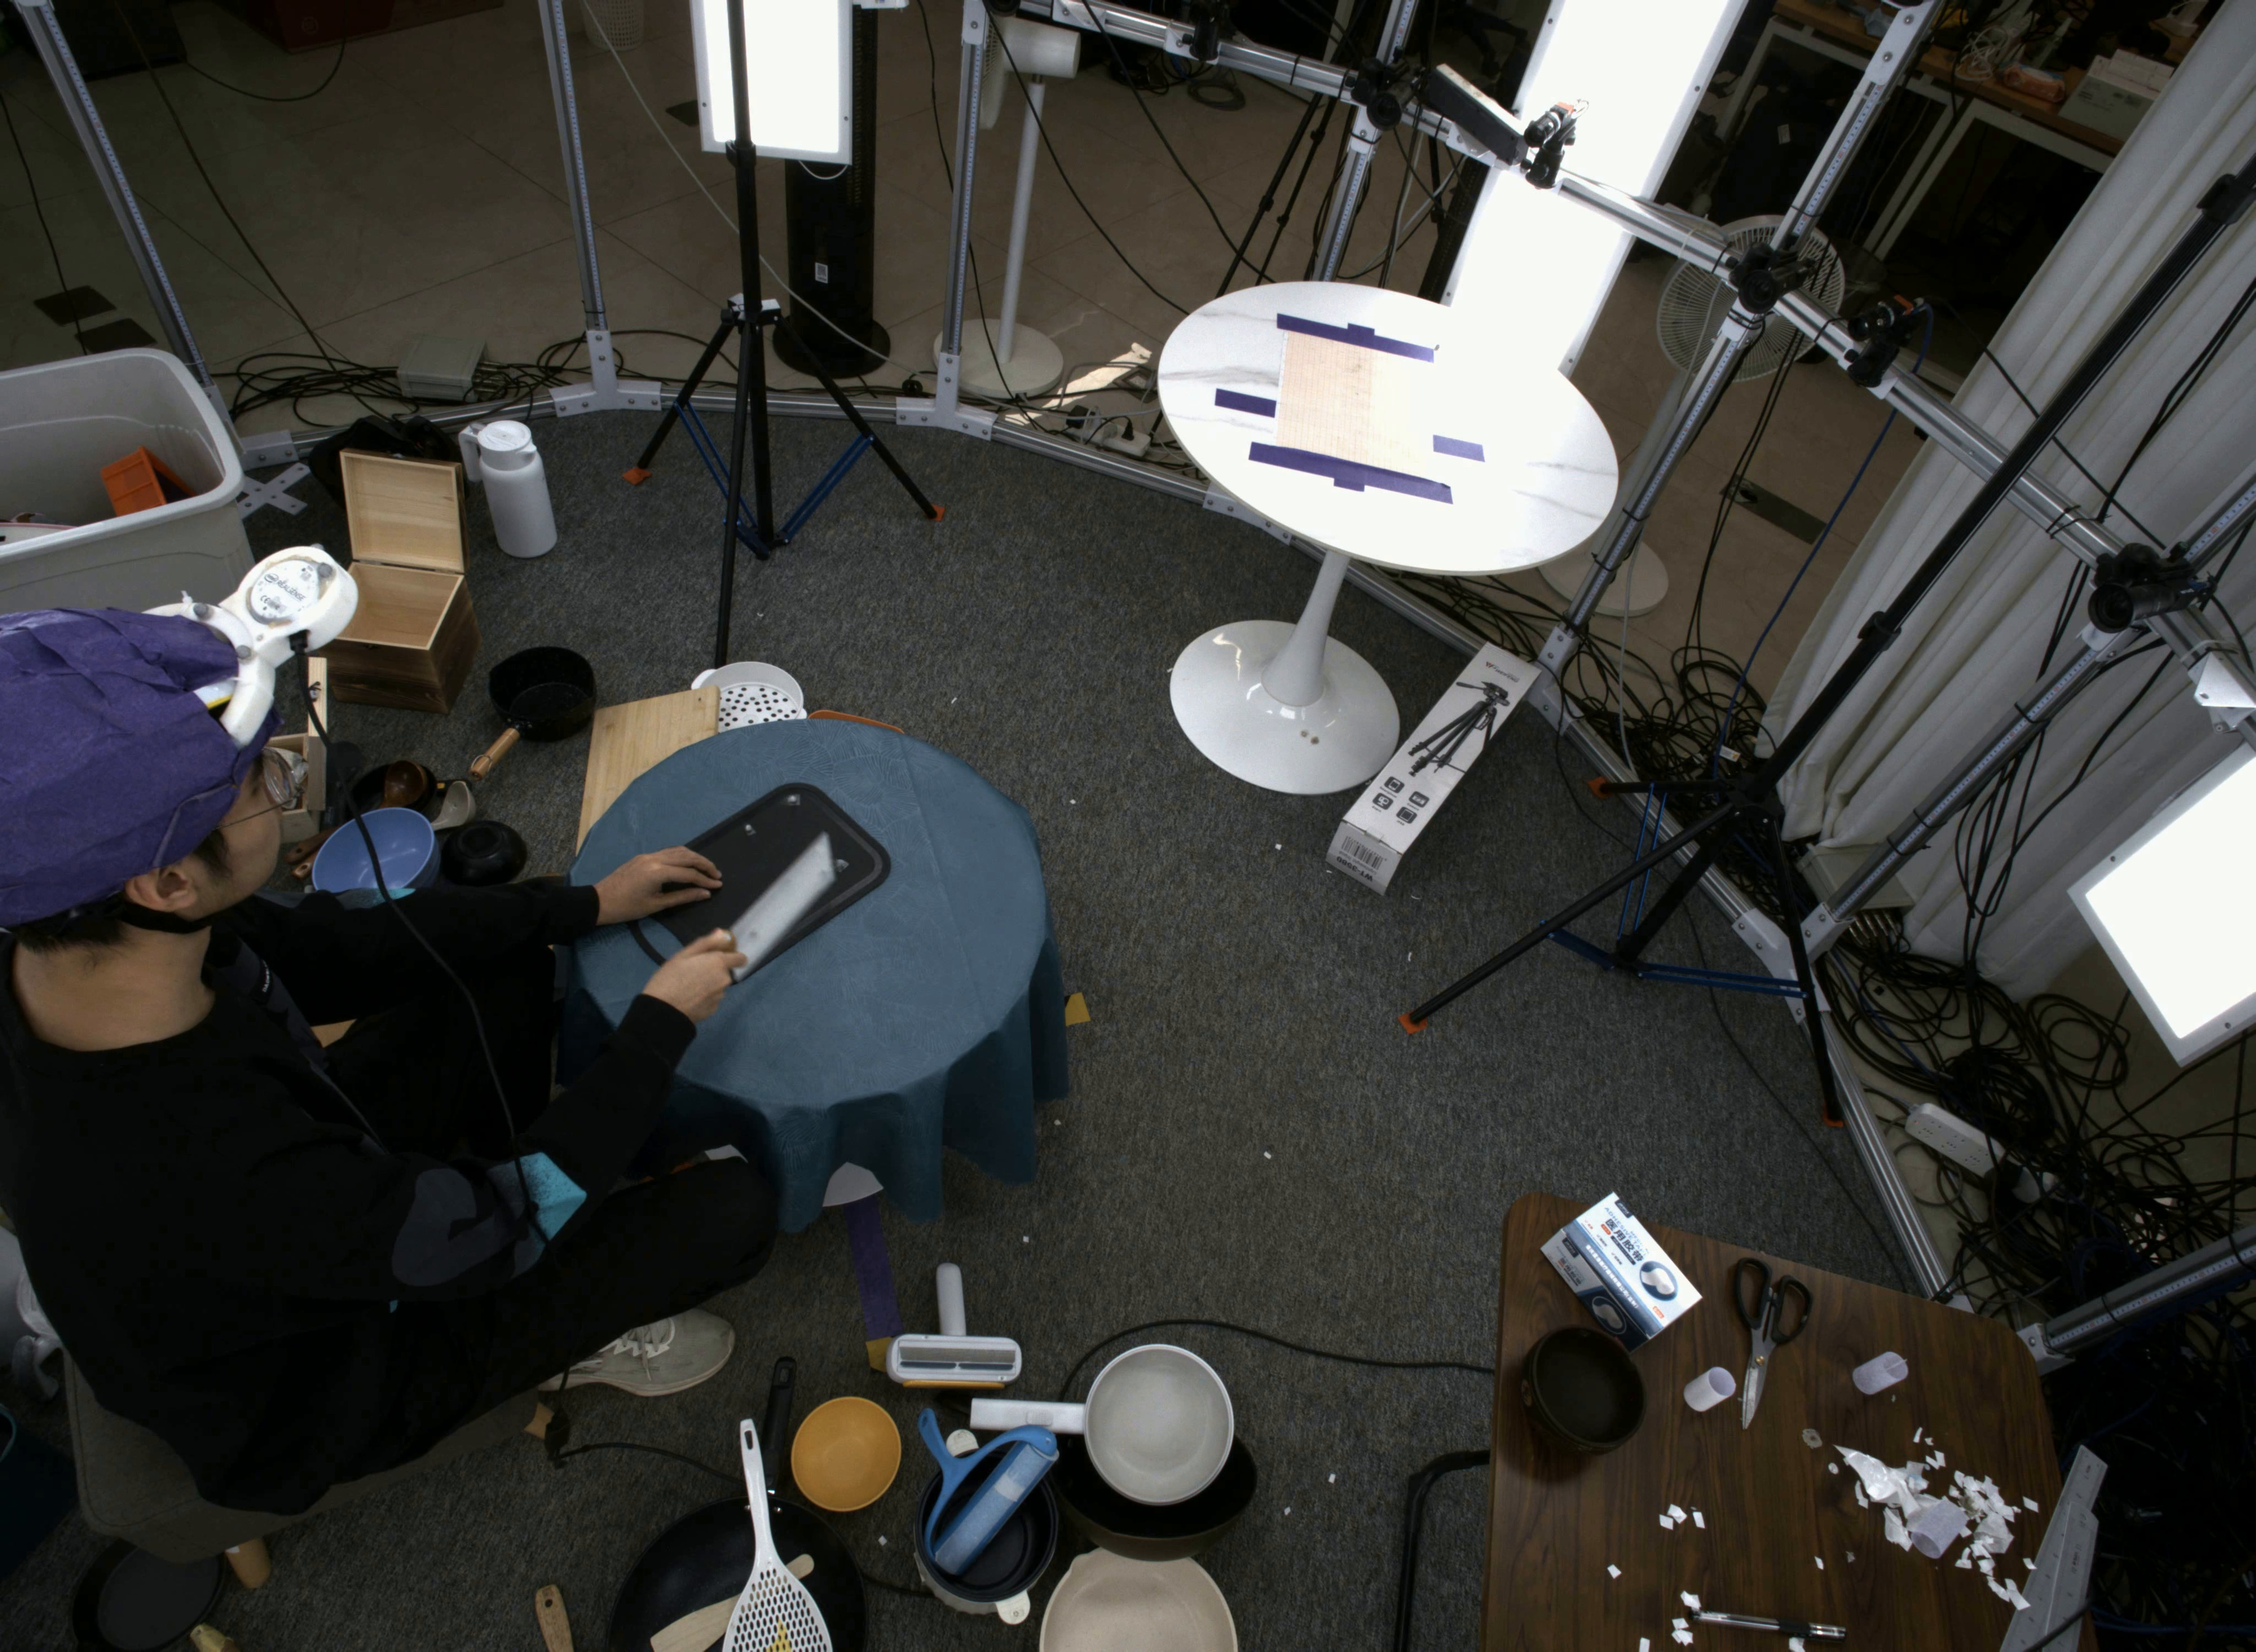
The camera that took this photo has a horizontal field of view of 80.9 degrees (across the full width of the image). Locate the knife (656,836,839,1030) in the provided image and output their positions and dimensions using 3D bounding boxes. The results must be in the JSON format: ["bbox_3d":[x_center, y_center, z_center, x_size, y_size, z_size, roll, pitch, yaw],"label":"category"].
[{"bbox_3d":[-0.434,0.133,1.510,0.020,0.096,0.304,22,49,19],"label":"knife"}]

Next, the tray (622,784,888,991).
[{"bbox_3d":[-0.476,0.073,1.641,0.206,0.010,0.326,41,54,16],"label":"tray"}]
